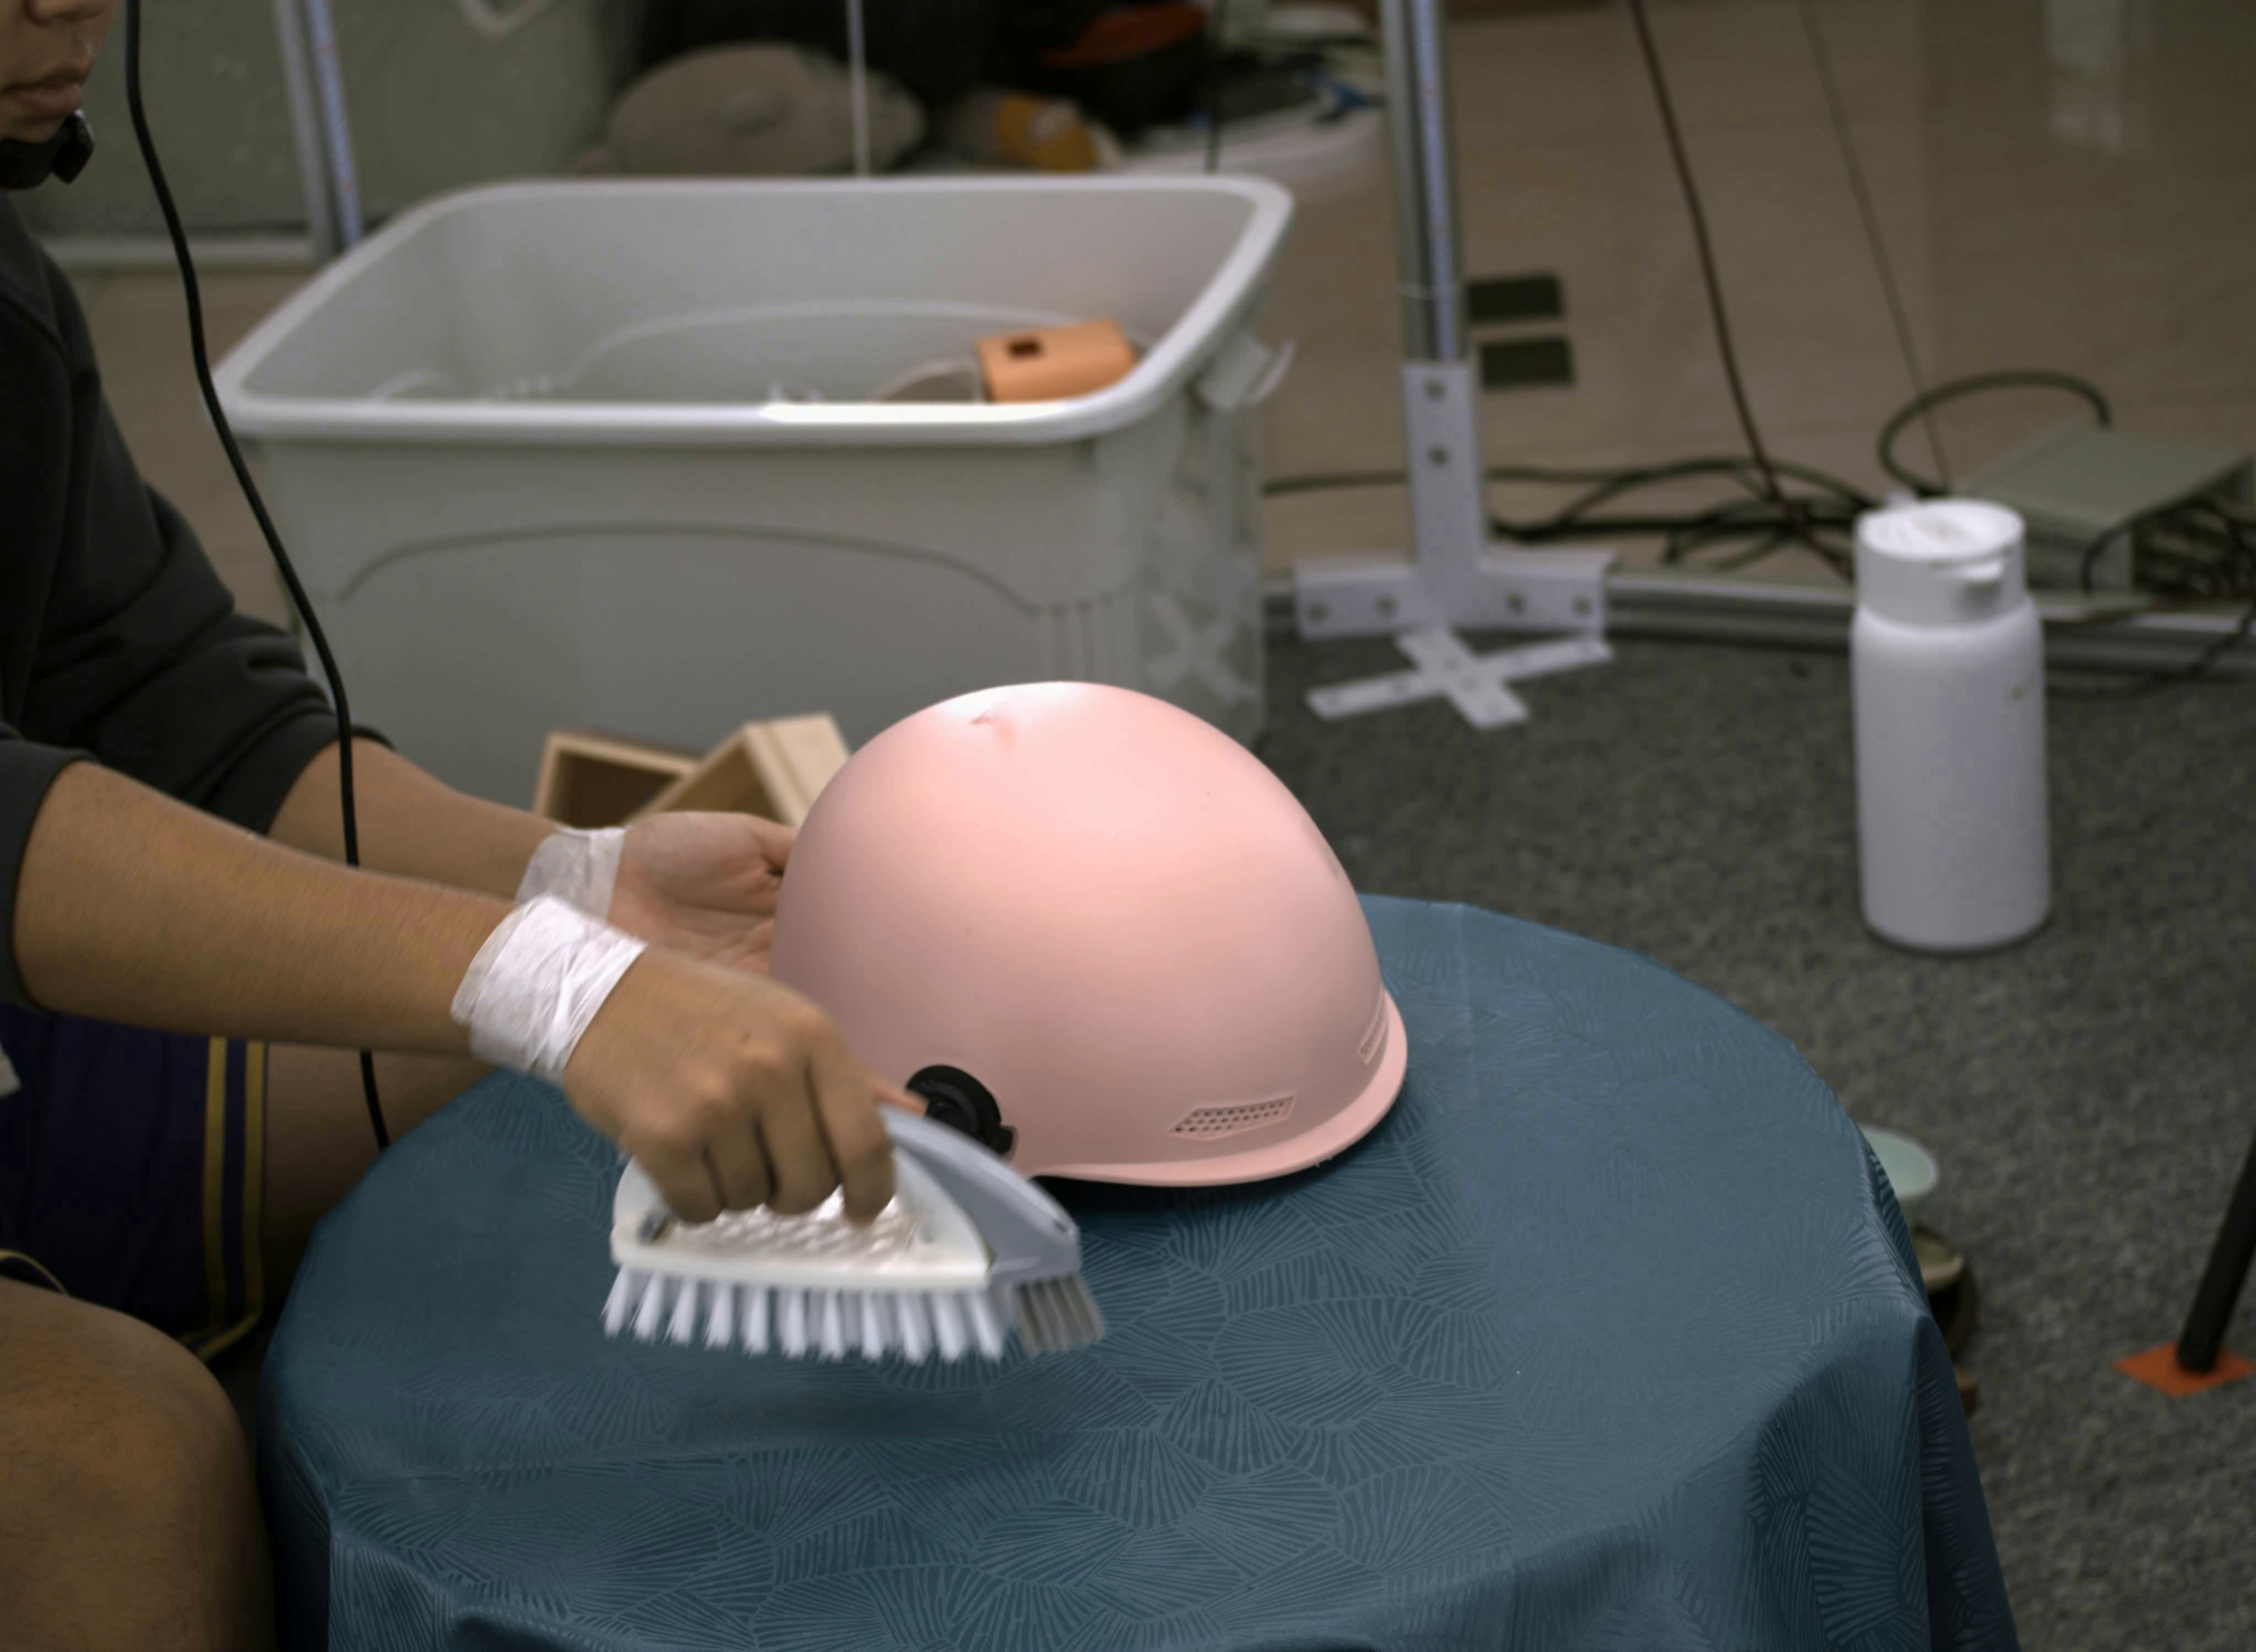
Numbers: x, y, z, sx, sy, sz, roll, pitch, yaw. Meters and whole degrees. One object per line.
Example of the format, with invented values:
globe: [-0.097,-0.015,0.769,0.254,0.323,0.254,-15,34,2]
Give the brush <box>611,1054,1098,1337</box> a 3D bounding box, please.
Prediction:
brush: [-0.094,0.127,1.988,0.175,0.096,0.060,8,28,11]

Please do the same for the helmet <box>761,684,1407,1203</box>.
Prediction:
helmet: [-0.020,0.034,2.196,0.264,0.161,0.232,18,34,35]
